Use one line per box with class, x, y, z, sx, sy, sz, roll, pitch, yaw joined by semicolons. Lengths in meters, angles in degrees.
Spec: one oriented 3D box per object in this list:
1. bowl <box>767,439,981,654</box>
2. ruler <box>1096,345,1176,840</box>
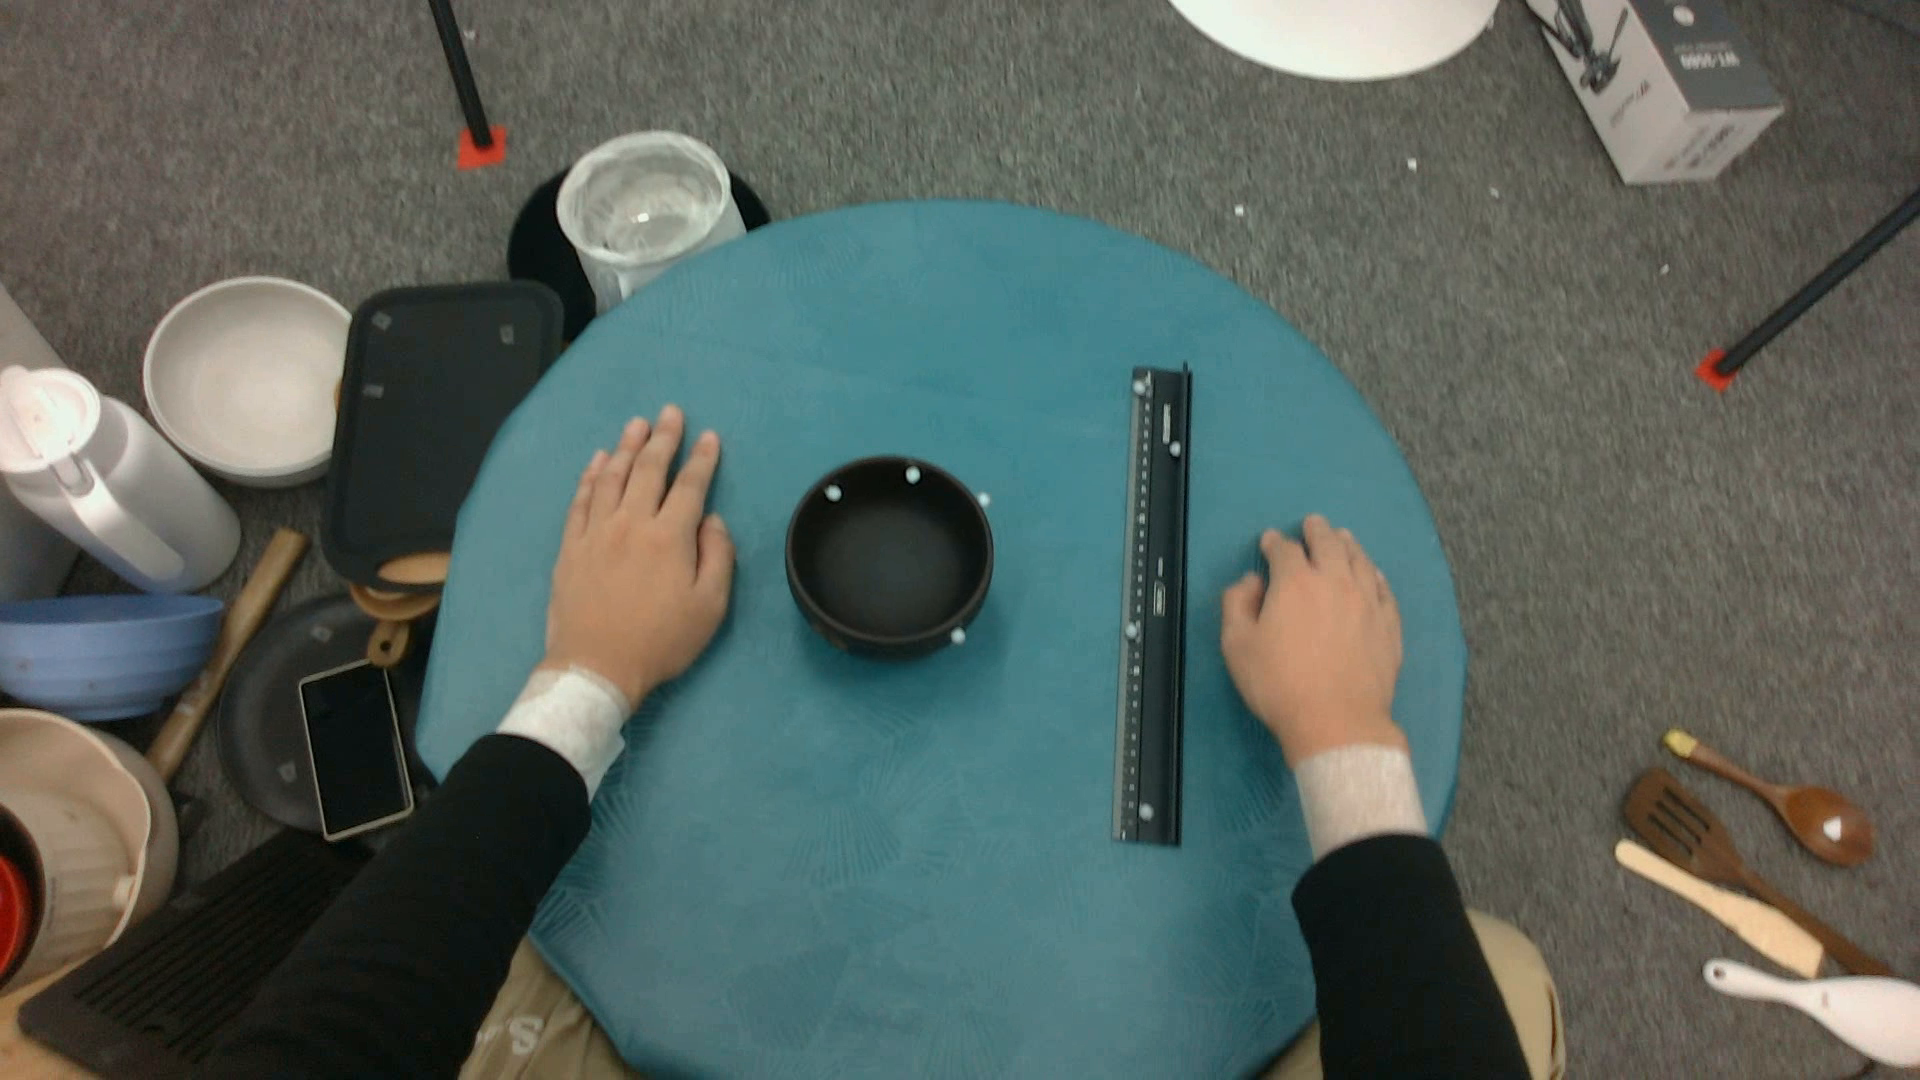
bowl;-0.048;0.010;0.775;0.118;0.069;0.118;2;66;-4
ruler;0.107;0.019;0.817;0.039;0.017;0.313;5;66;1
